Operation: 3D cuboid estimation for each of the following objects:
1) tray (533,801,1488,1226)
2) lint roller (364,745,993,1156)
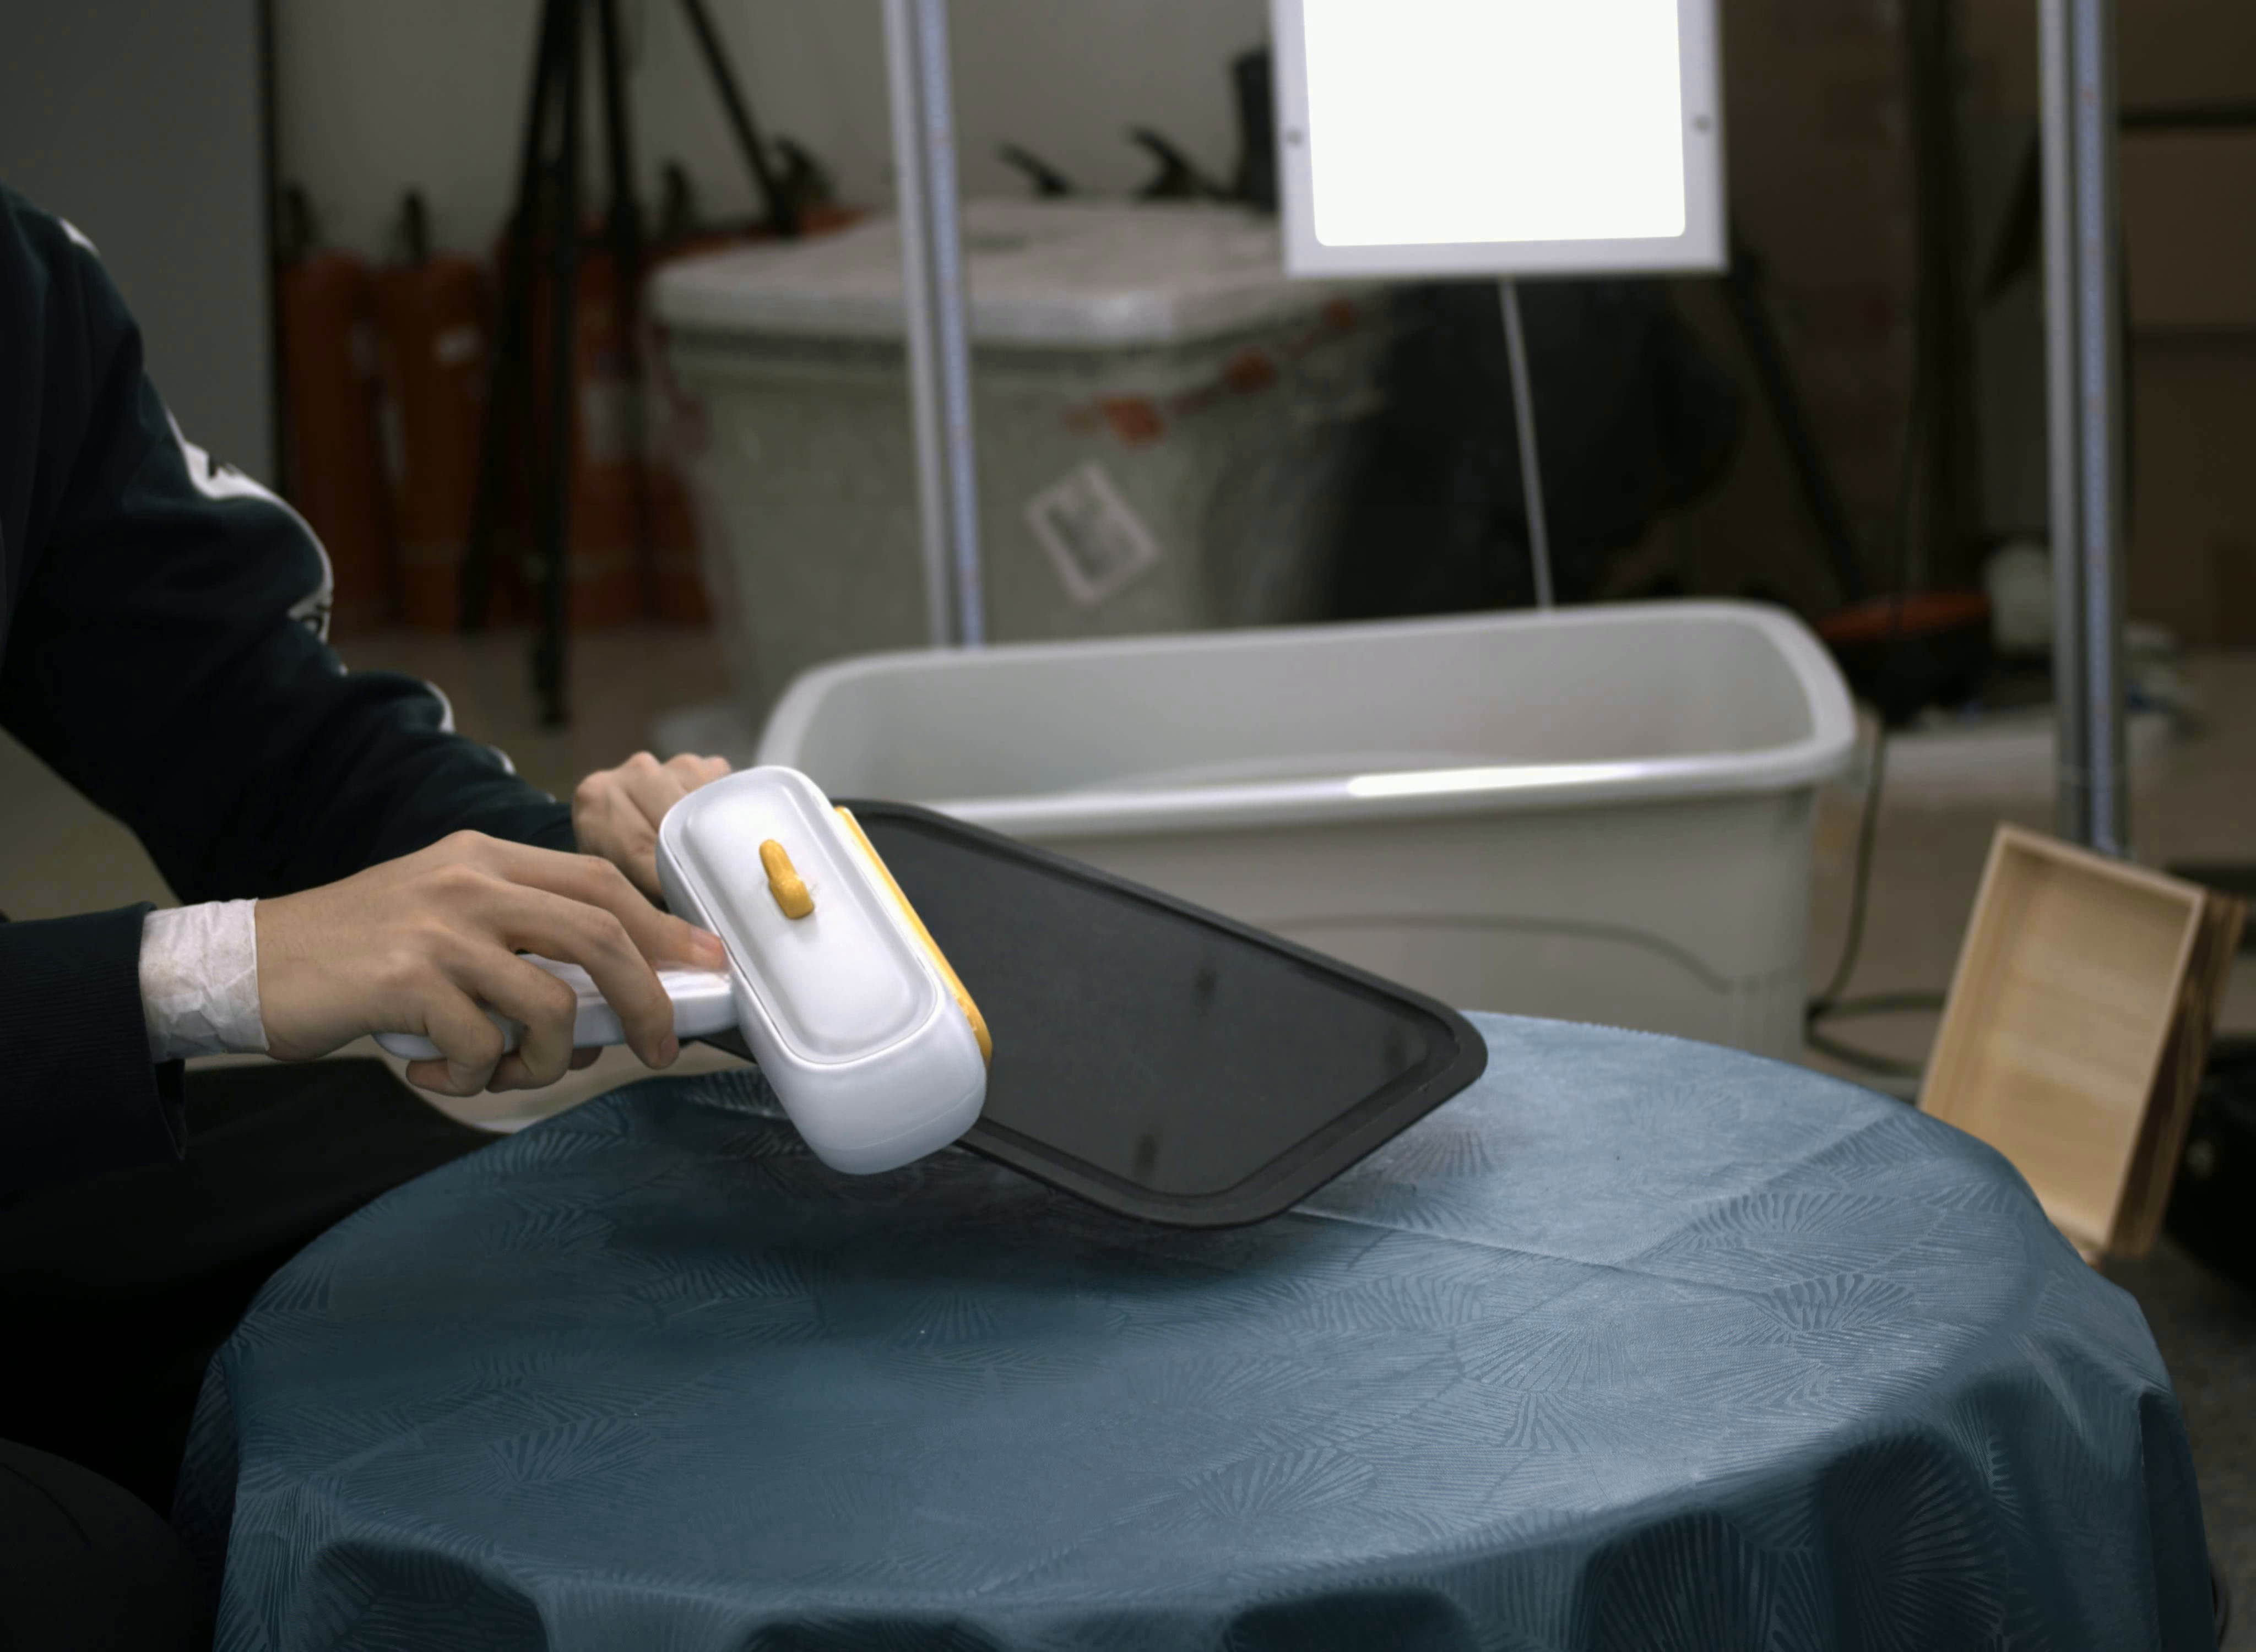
[{"bbox_3d":[-0.049,0.058,1.929,0.331,0.010,0.206,20,29,30],"label":"tray"},{"bbox_3d":[-0.160,0.054,1.830,0.189,0.074,0.195,-20,41,-16],"label":"lint roller"}]
